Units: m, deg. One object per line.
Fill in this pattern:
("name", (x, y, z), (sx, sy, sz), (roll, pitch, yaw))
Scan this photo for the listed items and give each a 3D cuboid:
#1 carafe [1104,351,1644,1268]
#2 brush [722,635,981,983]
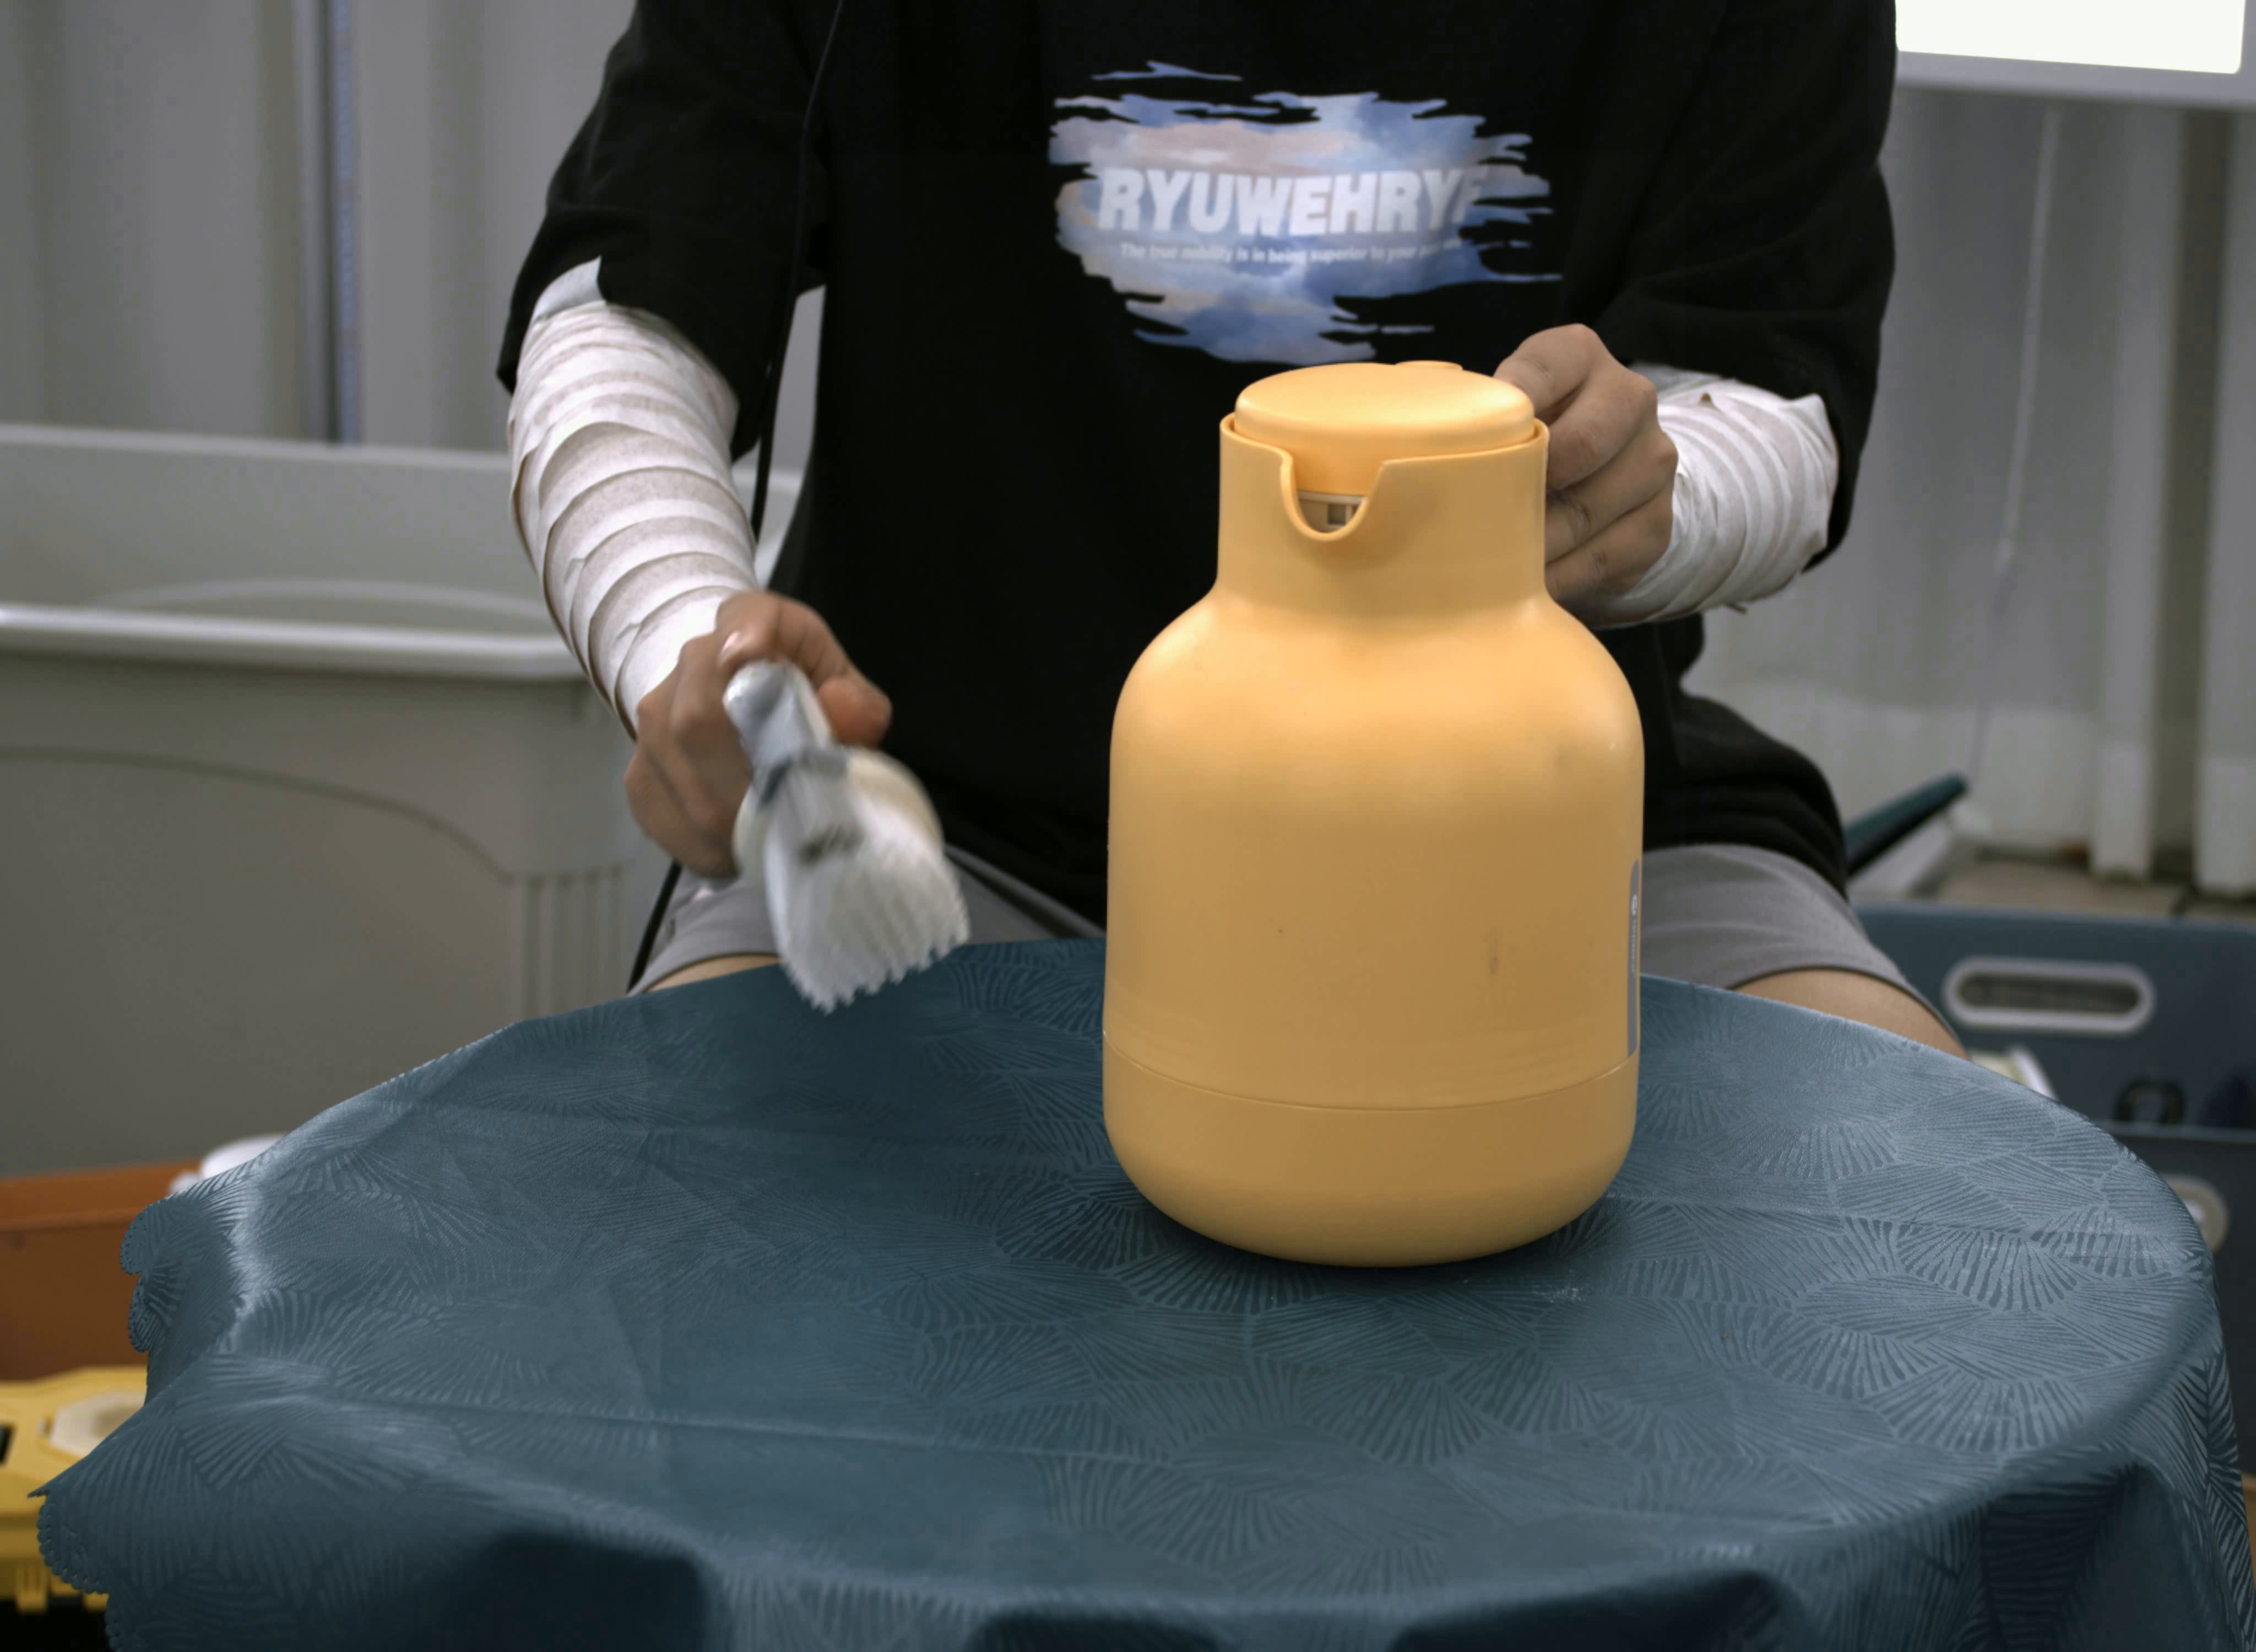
("carafe", (0.082, -0.013, 1.593), (0.162, 0.262, 0.202), (7, 18, 17))
("brush", (-0.092, -0.017, 1.597), (0.061, 0.094, 0.176), (-28, -14, -3))
